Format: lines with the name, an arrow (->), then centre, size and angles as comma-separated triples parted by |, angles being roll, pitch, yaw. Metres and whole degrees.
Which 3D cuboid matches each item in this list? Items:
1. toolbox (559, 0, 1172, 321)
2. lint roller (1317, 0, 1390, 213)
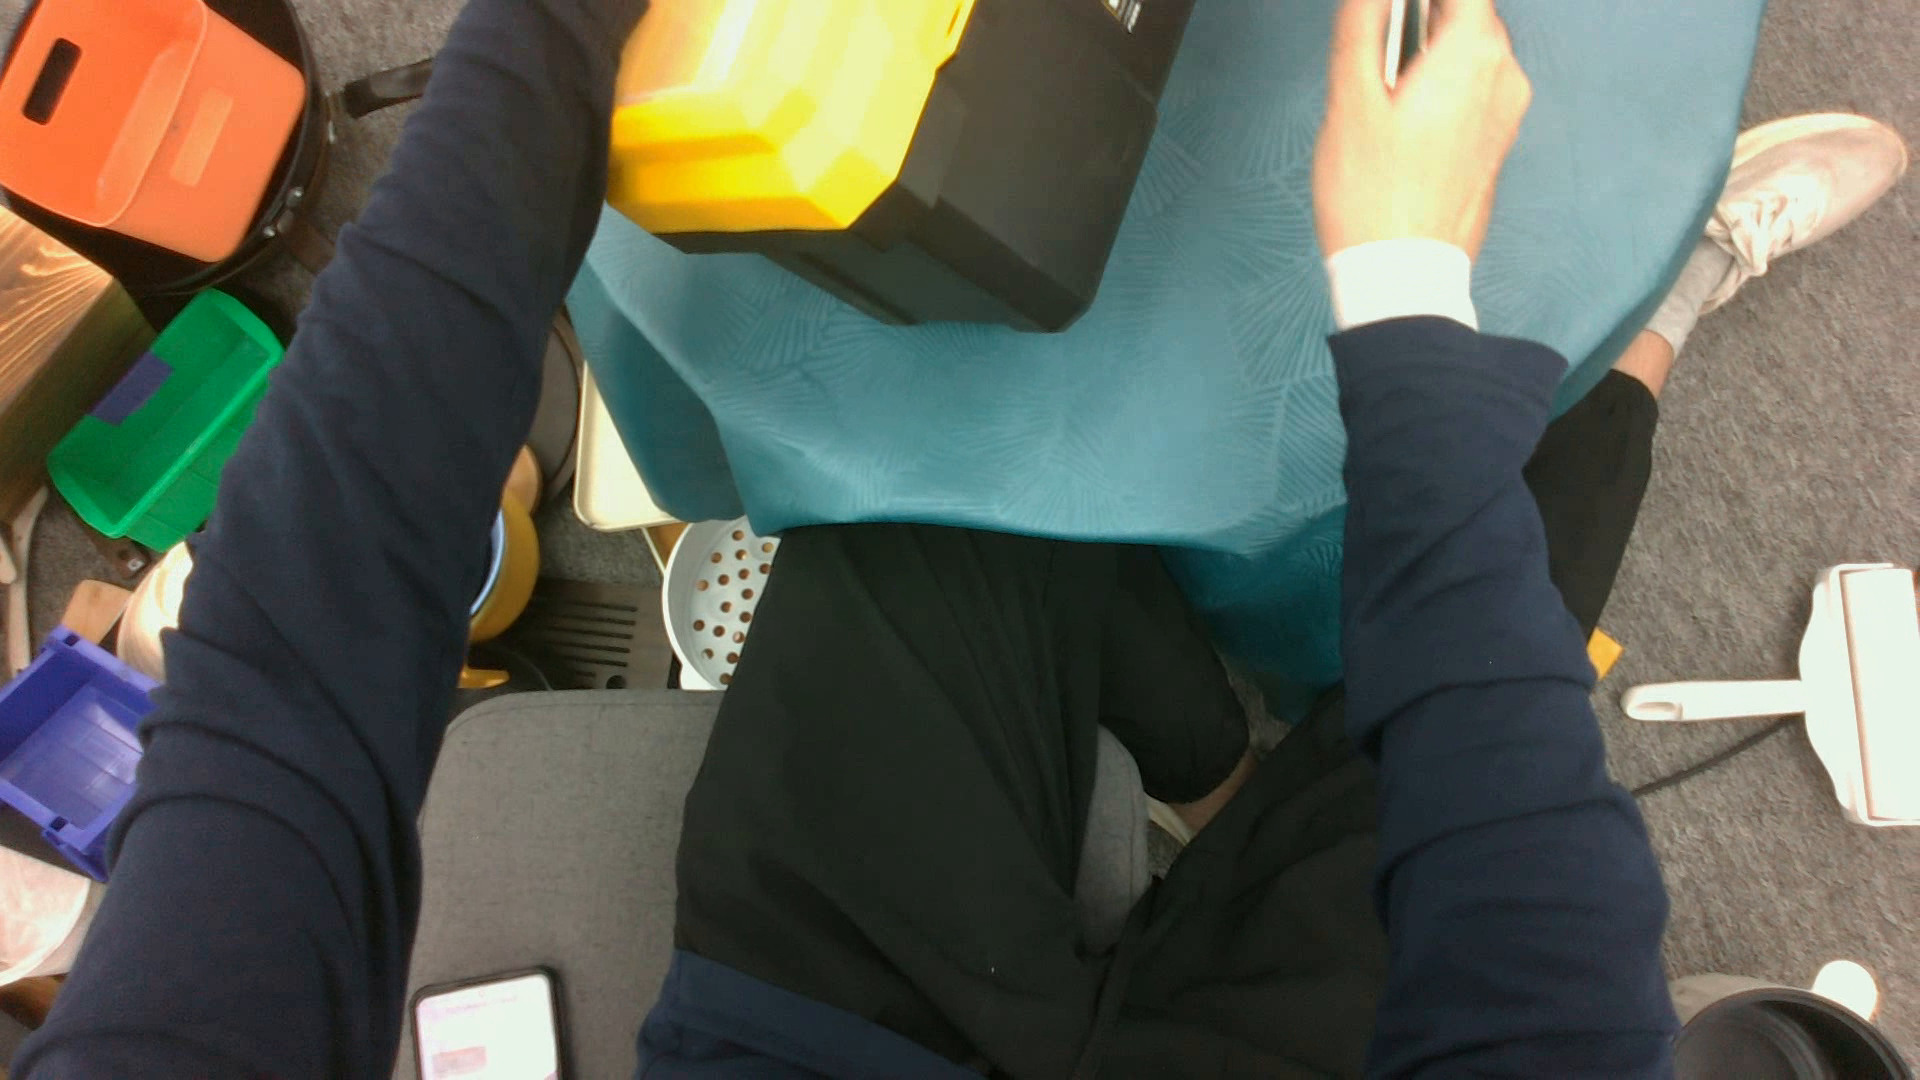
toolbox -> -0.002, -0.267, 0.553 | 0.181, 0.173, 0.352 | 12, 79, 46
lint roller -> 0.163, -0.219, 0.530 | 0.048, 0.134, 0.180 | -4, 86, 45
